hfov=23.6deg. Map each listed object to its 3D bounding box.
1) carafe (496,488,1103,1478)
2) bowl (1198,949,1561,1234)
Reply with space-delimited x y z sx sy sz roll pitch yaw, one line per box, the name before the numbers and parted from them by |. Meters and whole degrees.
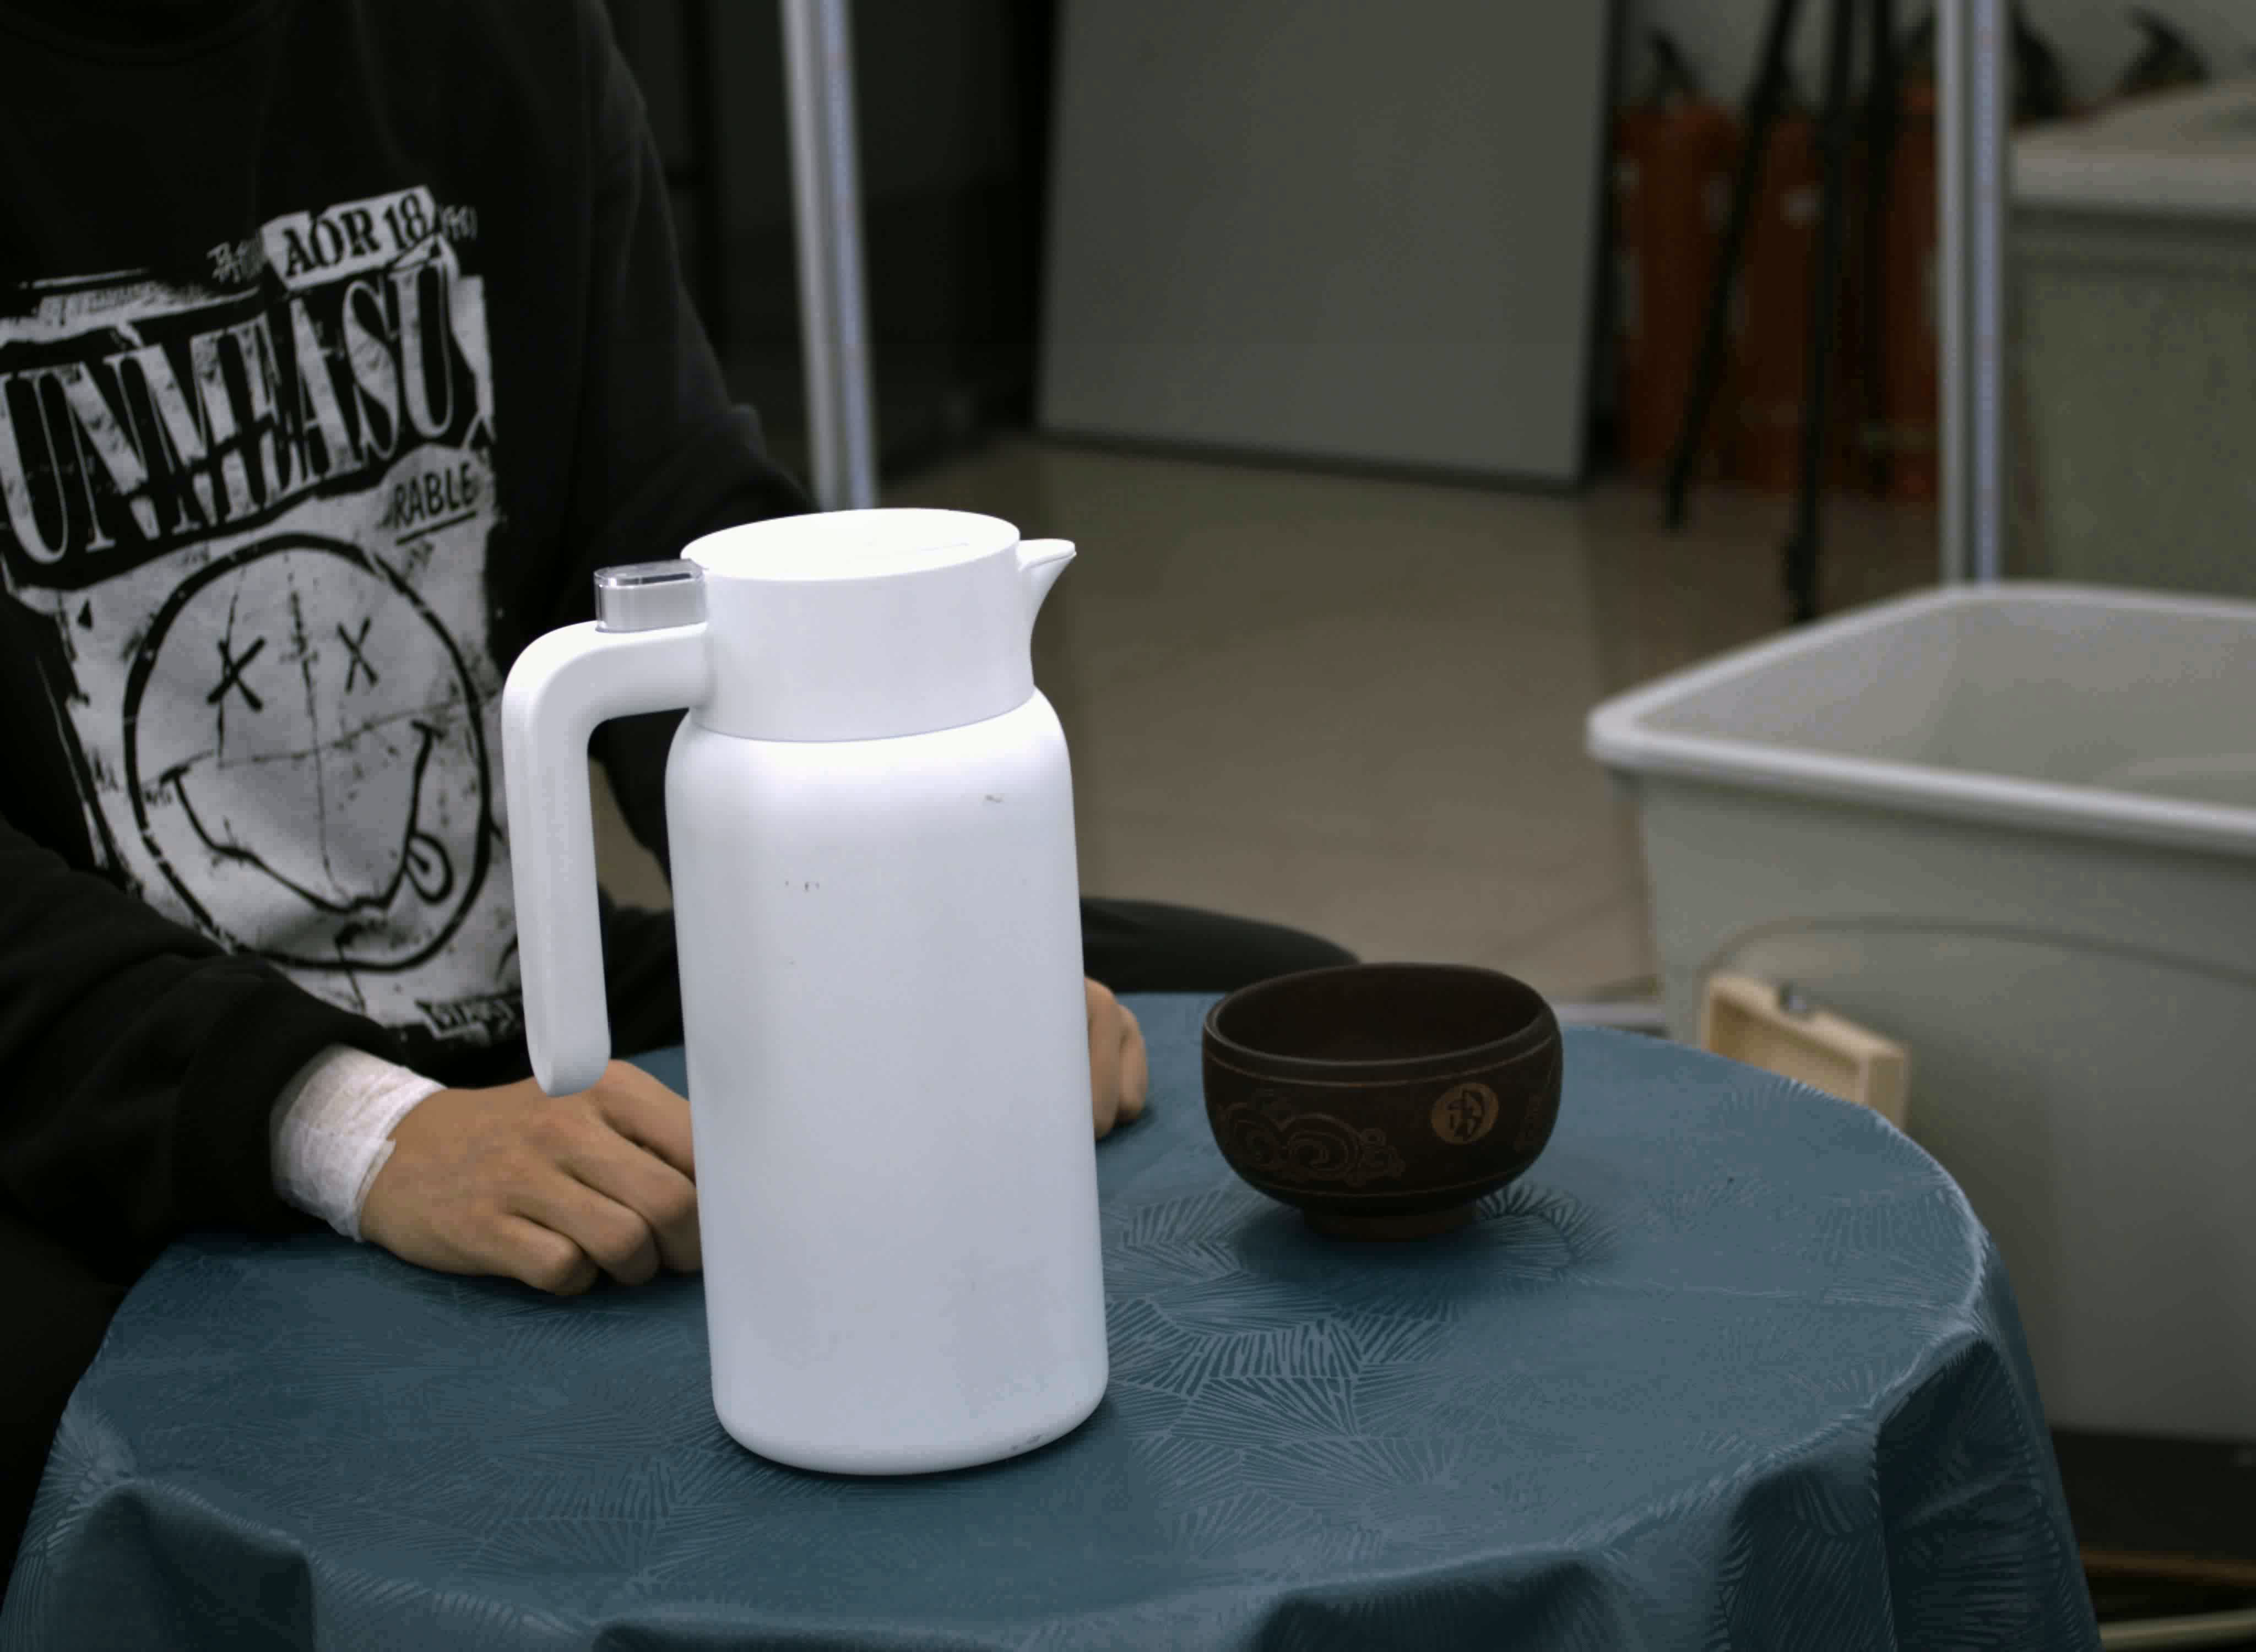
carafe | -0.087 0.046 1.543 0.169 0.272 0.125 -9 16 -21
bowl | 0.082 0.089 1.725 0.116 0.070 0.118 -5 14 0
